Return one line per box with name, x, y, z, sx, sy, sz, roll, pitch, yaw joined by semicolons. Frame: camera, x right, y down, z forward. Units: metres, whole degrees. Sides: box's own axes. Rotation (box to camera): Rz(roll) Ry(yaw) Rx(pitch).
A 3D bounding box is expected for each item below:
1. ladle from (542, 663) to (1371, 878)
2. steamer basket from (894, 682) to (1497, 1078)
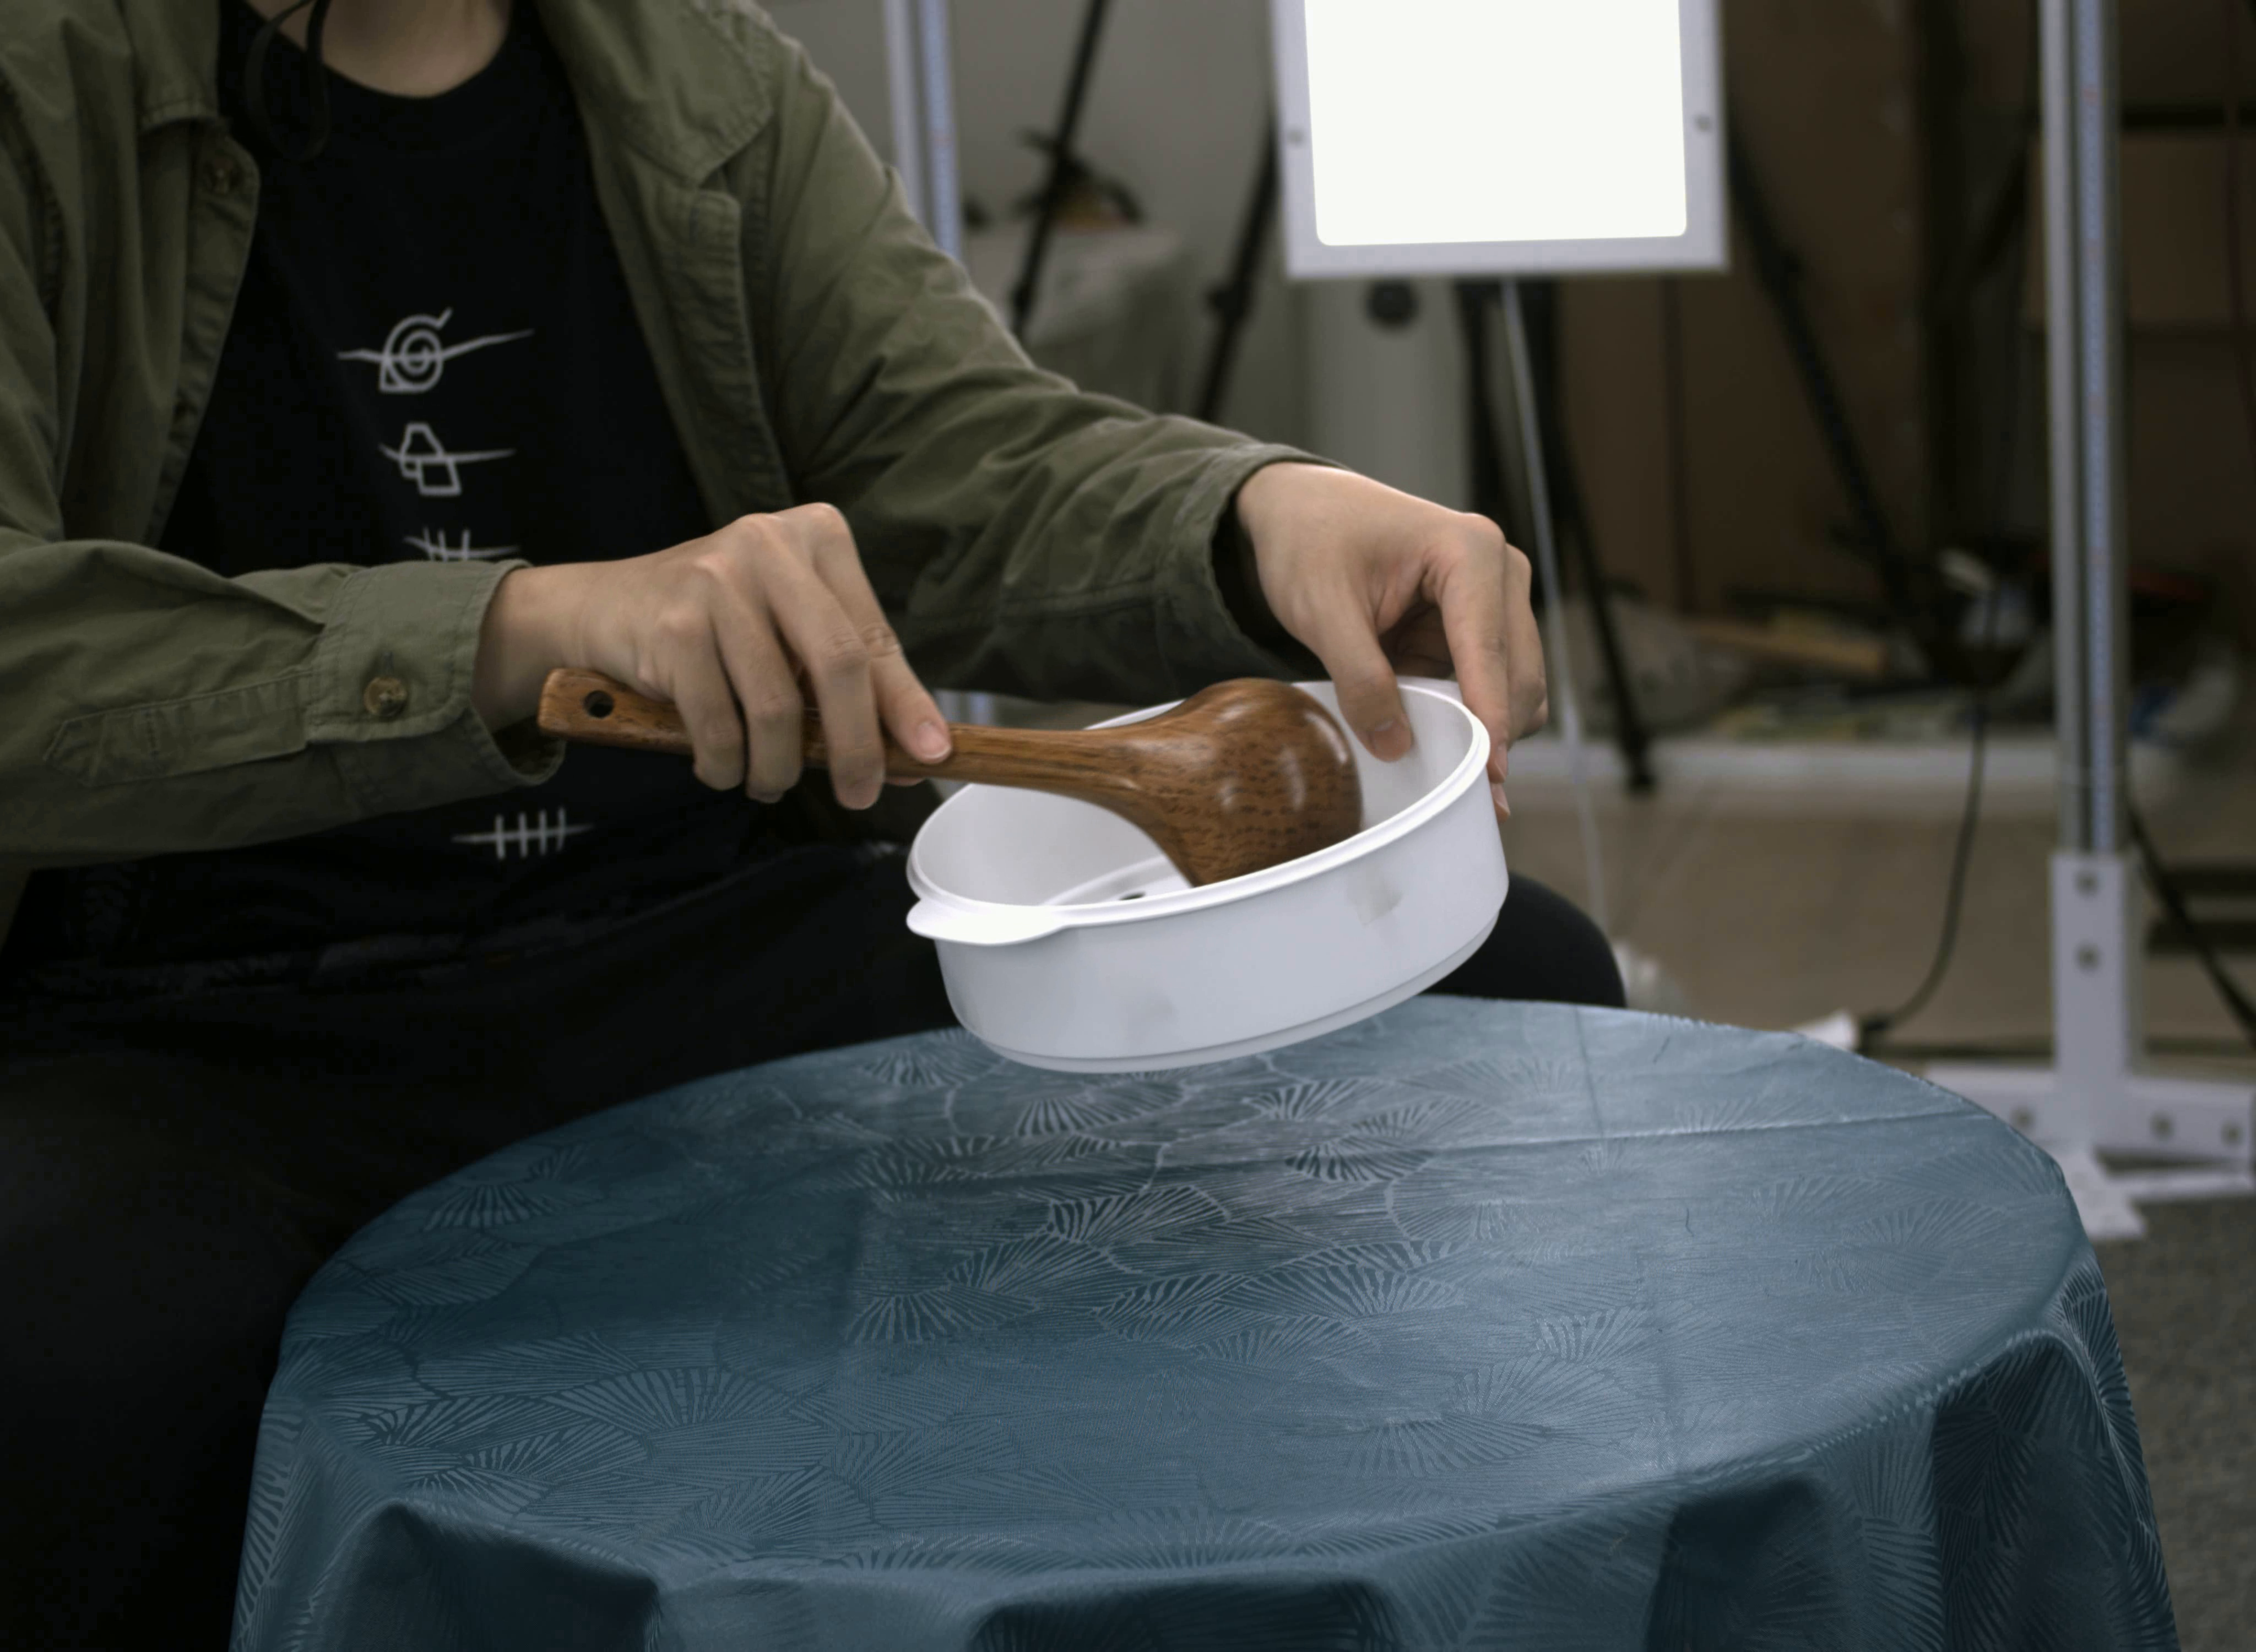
ladle;-0.055;-0.024;1.838;0.276;0.082;0.076;5;-15;13
steamer basket;0.025;0.019;1.848;0.225;0.069;0.206;-27;23;-34
